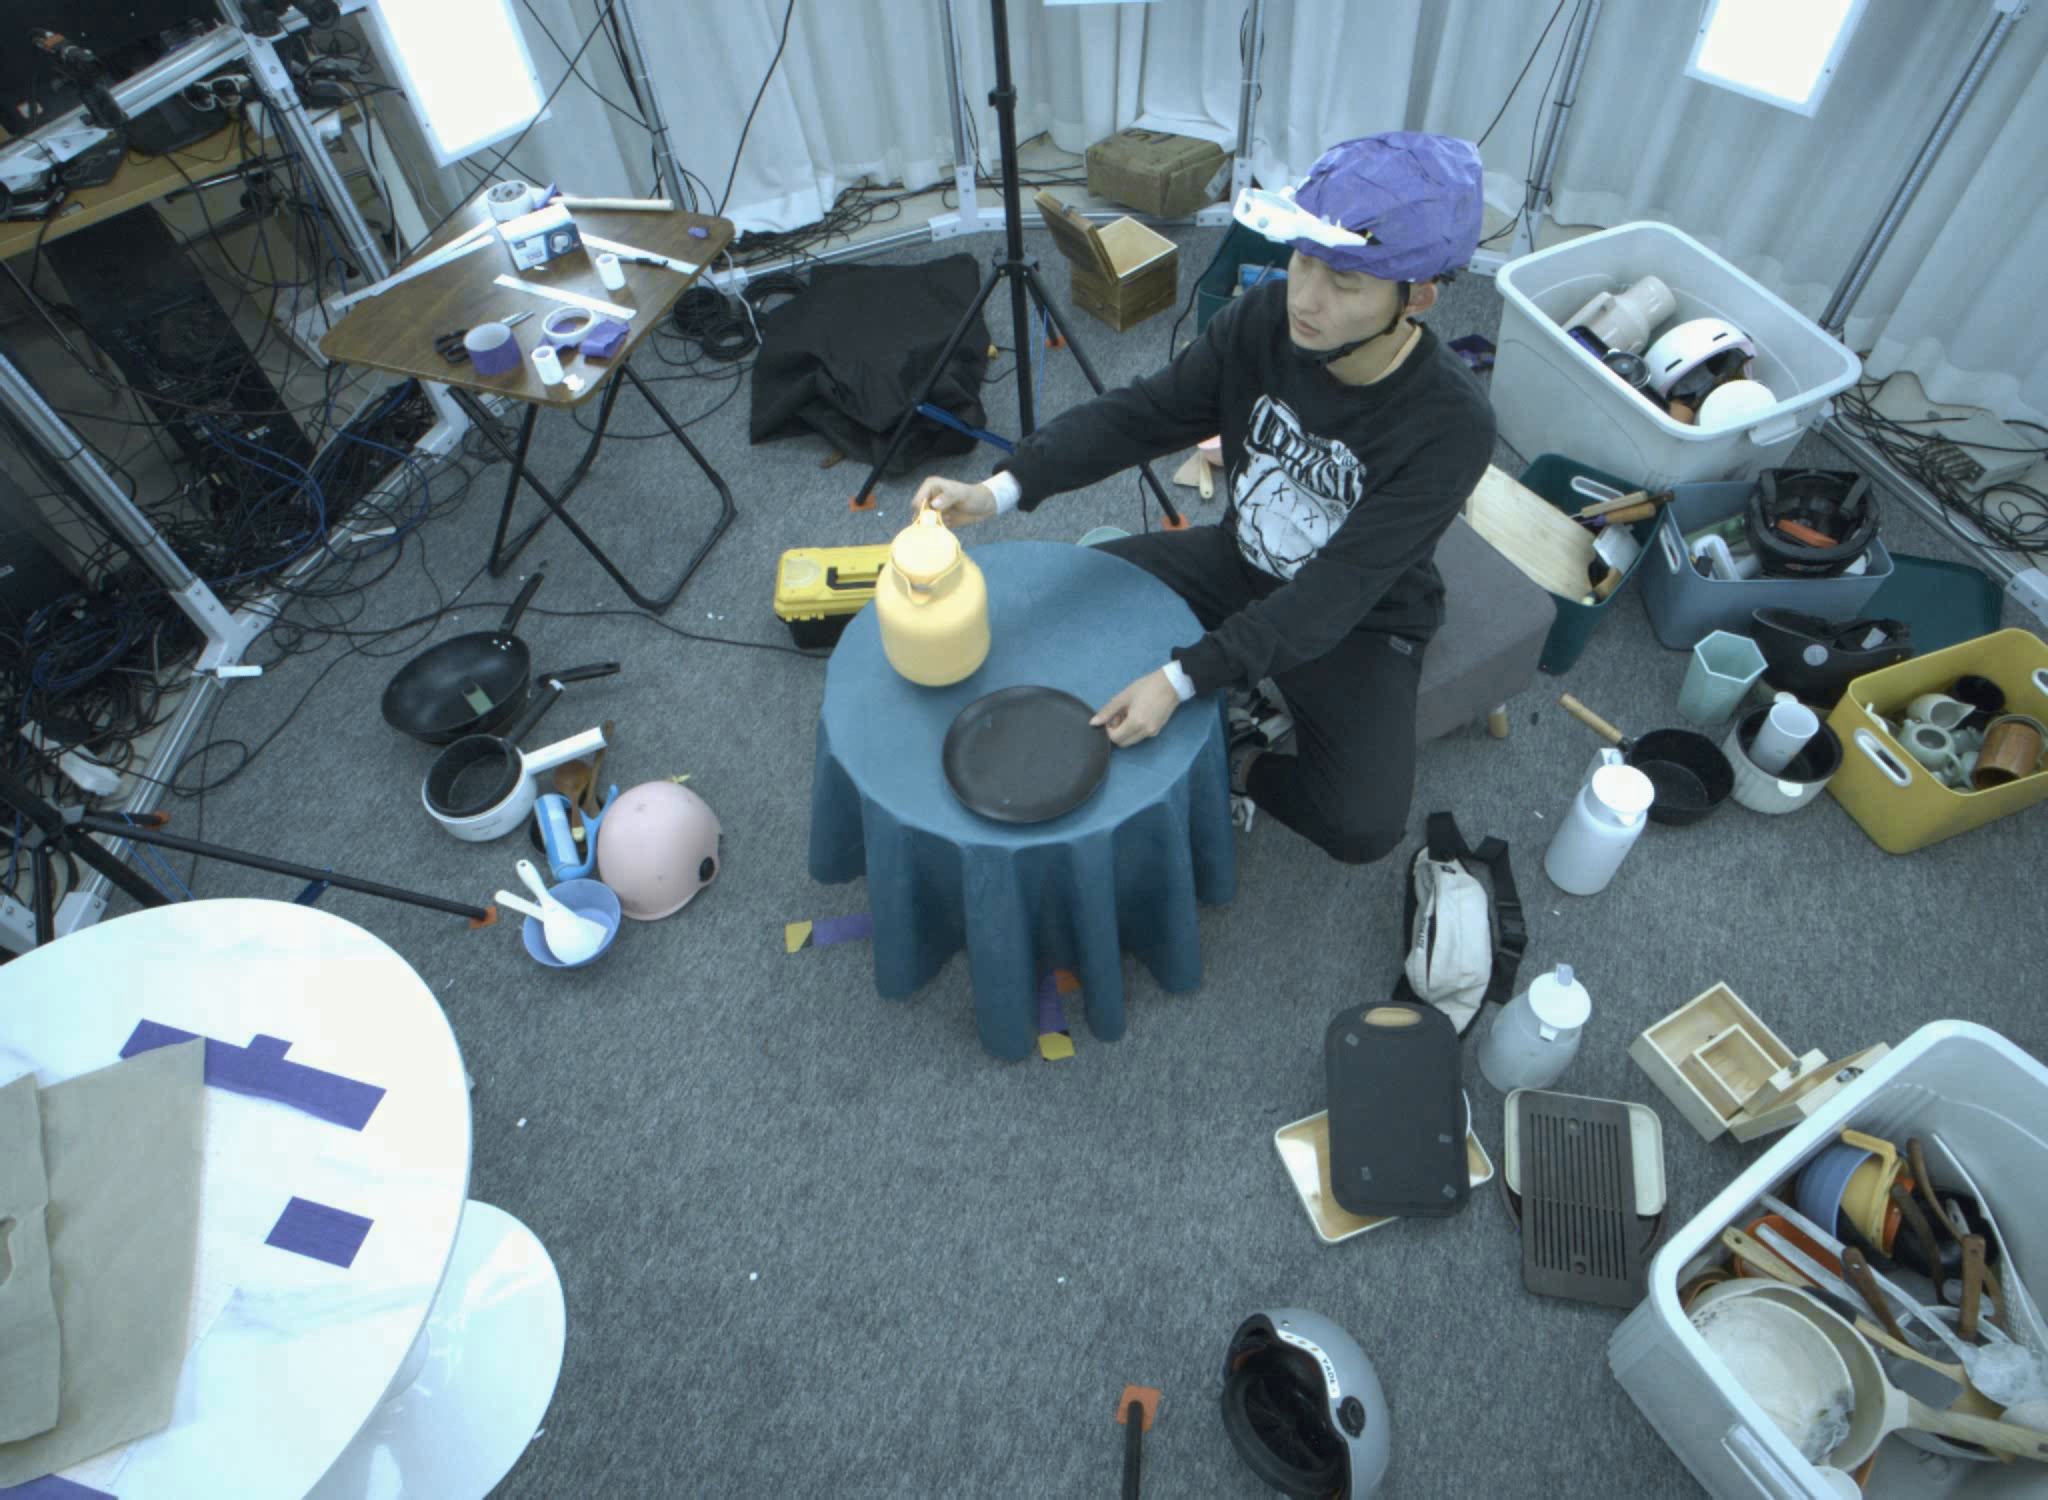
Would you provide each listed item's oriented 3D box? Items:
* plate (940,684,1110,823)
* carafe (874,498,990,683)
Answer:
[{"bbox_3d":[0.001,0.006,1.762,0.244,0.024,0.242,-1,55,2],"label":"plate"},{"bbox_3d":[-0.131,-0.233,1.761,0.163,0.262,0.201,6,65,2],"label":"carafe"}]
